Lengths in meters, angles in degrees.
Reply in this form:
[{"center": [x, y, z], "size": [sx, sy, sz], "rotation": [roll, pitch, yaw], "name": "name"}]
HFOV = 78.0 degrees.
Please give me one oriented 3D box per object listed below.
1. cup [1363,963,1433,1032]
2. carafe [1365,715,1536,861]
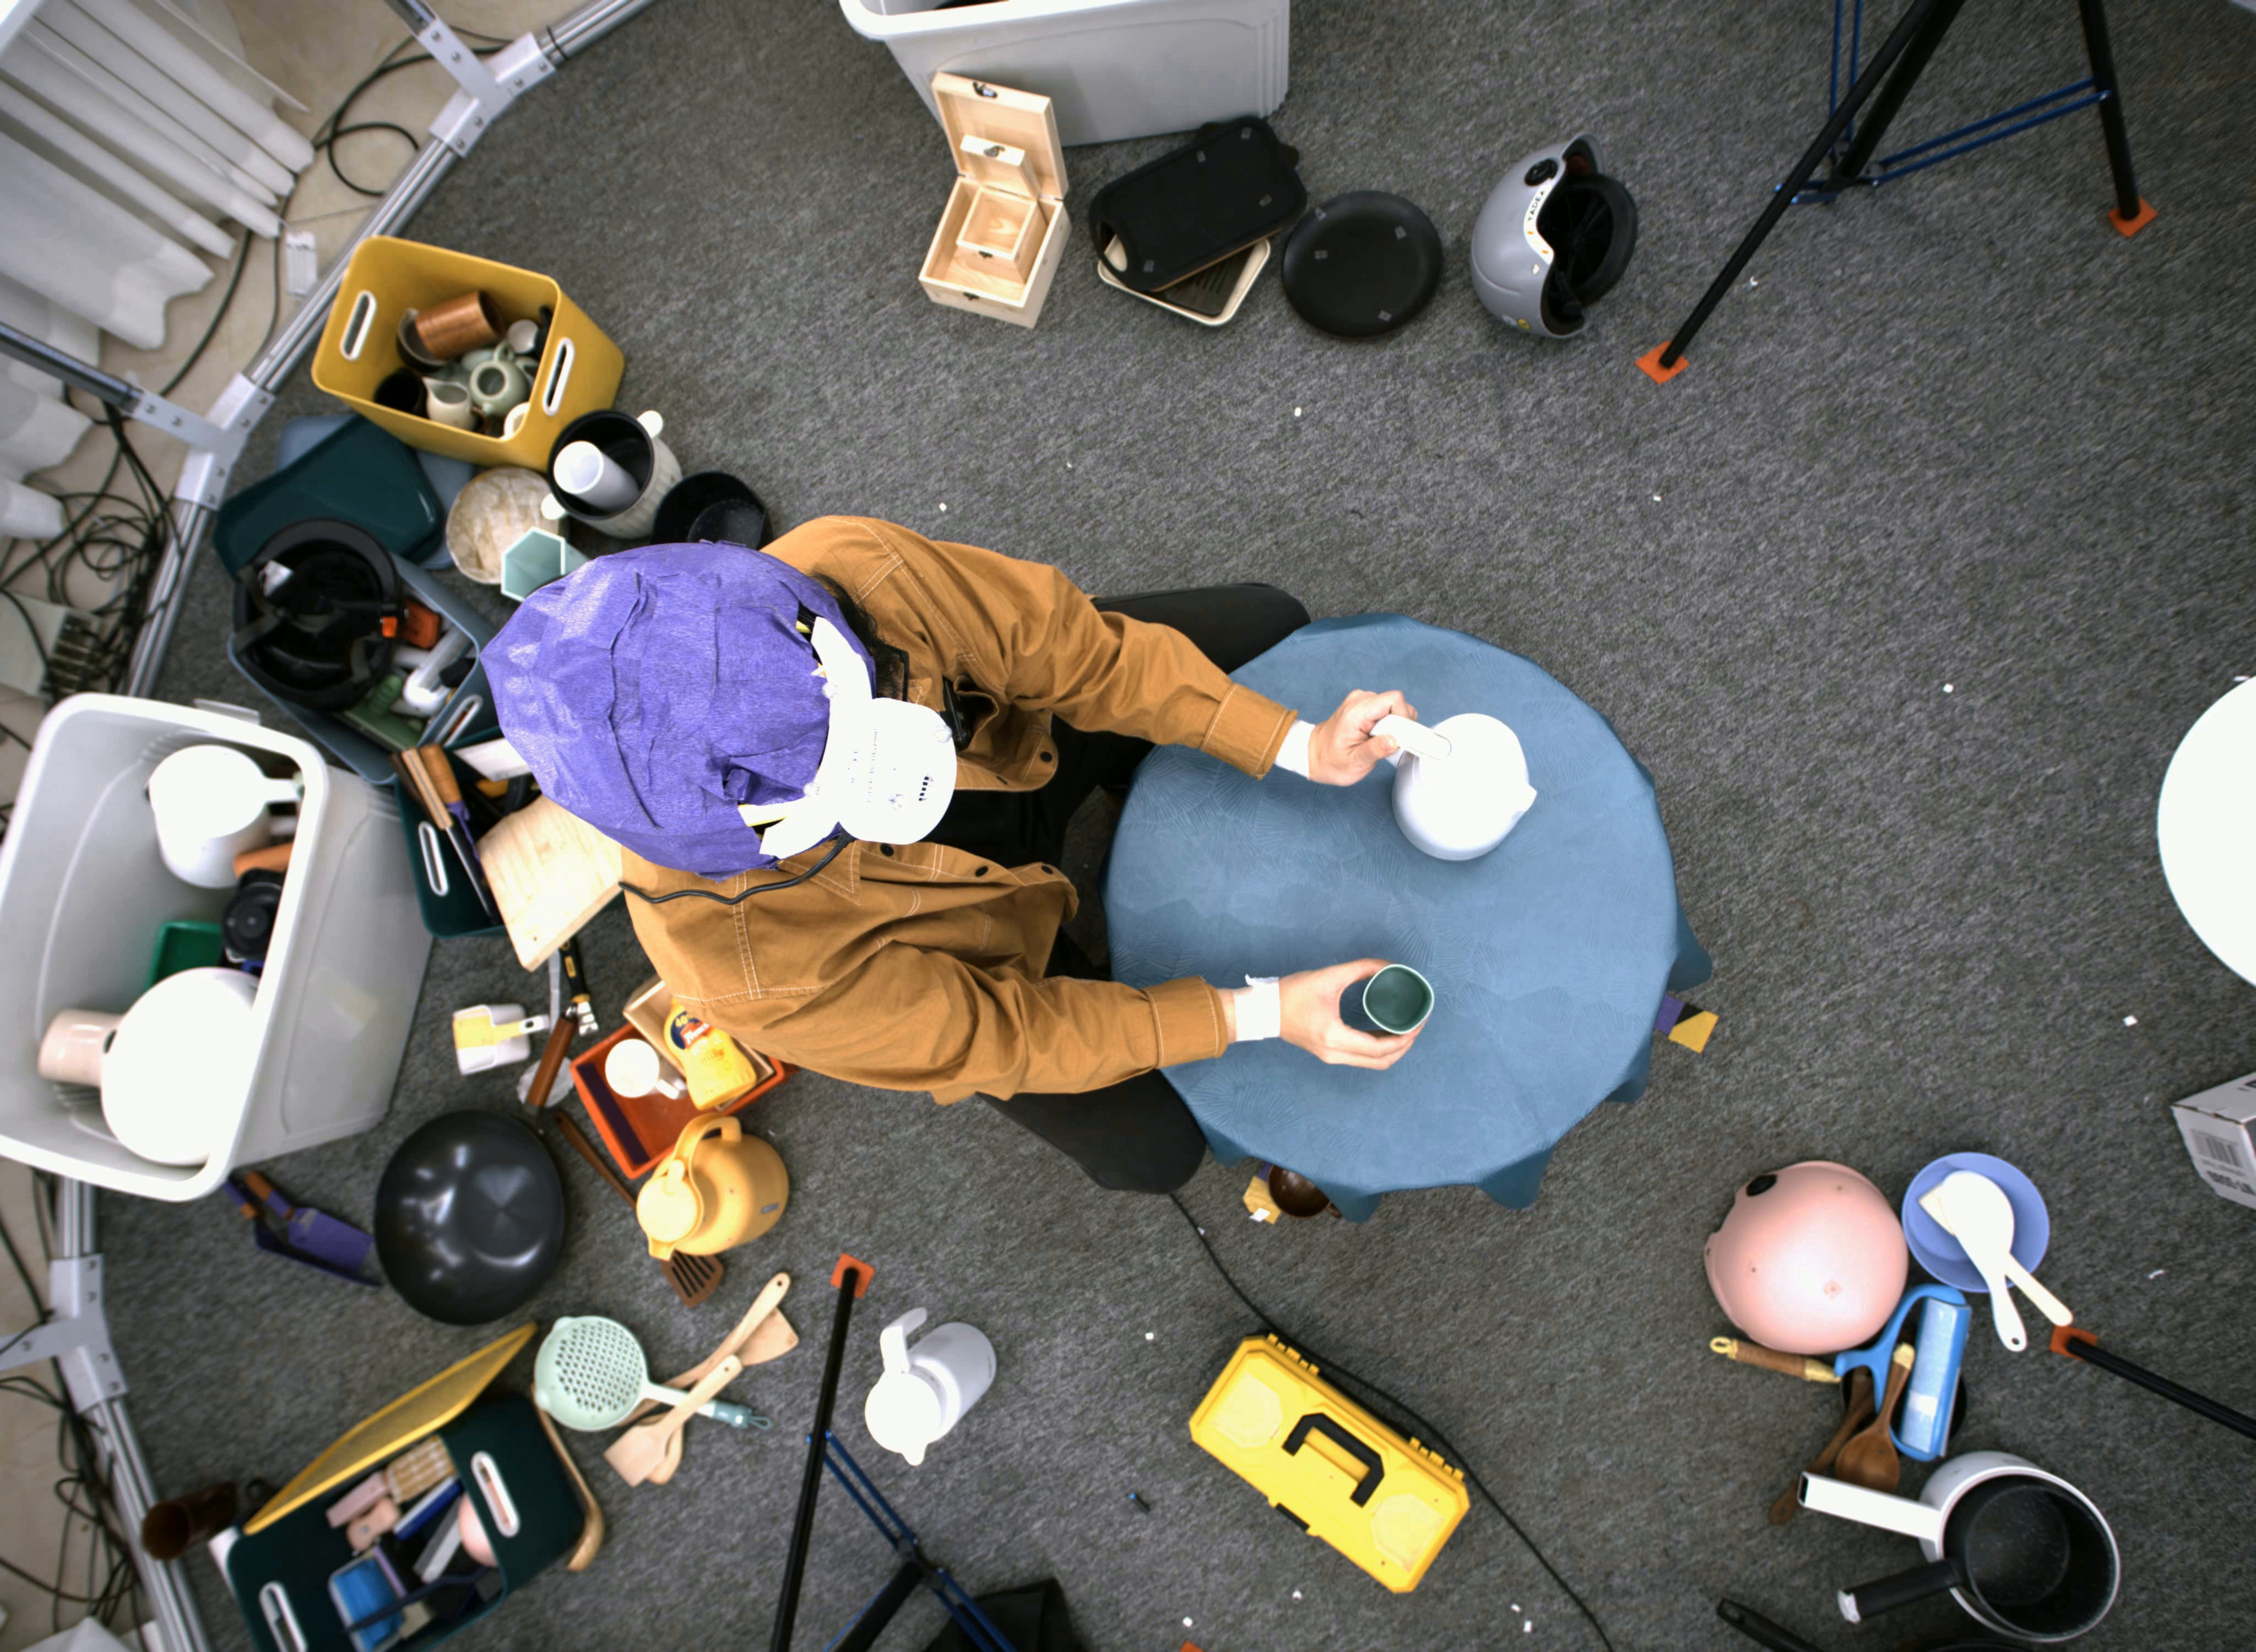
[{"center": [0.270, 0.172, 1.394], "size": [0.067, 0.132, 0.066], "rotation": [-1, 84, 10], "name": "cup"}, {"center": [0.307, -0.051, 1.335], "size": [0.167, 0.249, 0.132], "rotation": [30, 91, 12], "name": "carafe"}]
